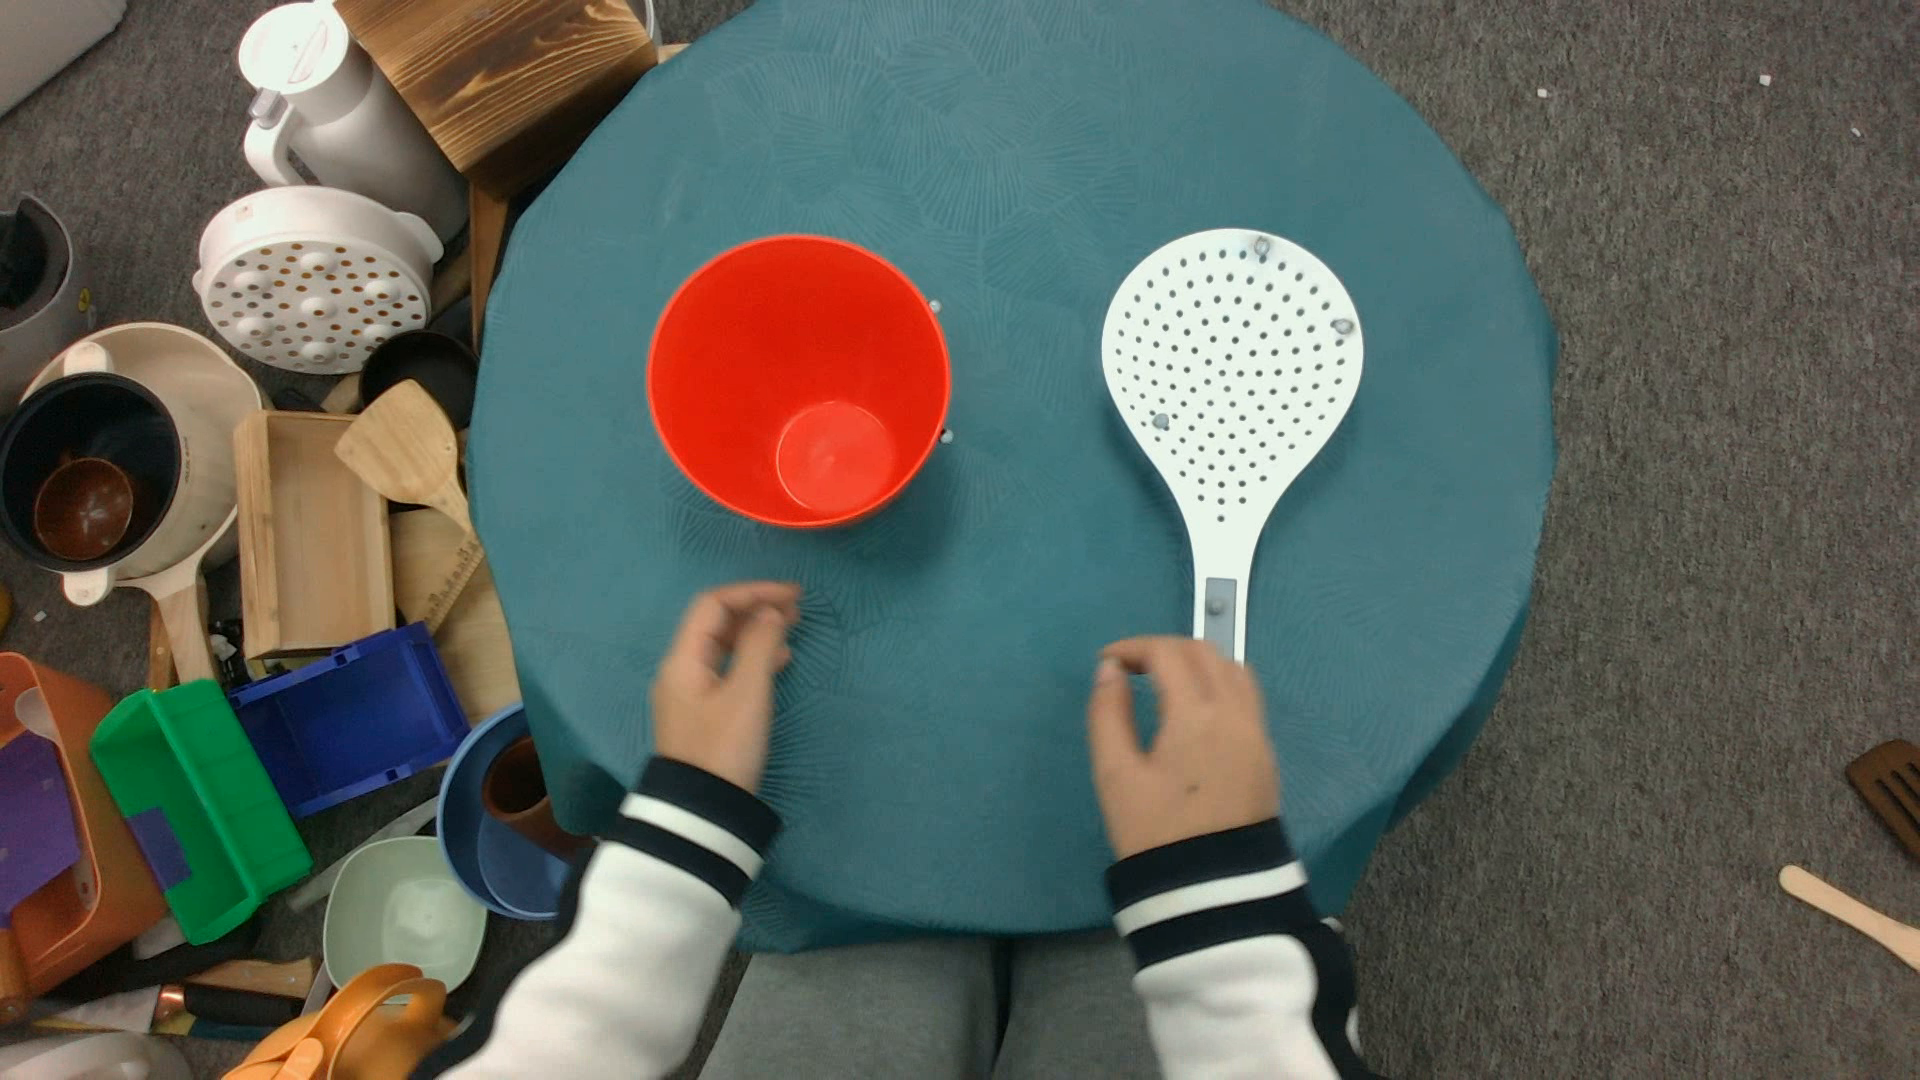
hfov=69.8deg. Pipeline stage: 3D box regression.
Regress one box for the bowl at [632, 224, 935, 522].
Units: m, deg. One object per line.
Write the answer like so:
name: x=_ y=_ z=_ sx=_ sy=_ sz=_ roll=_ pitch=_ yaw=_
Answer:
bowl: x=-0.086 y=-0.073 z=0.713 sx=0.148 sy=0.104 sz=0.148 roll=0 pitch=72 yaw=-1

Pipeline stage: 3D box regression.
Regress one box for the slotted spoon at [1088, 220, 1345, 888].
slotted spoon: x=0.127 y=-0.001 z=0.714 sx=0.136 sy=0.045 sz=0.350 roll=4 pitch=72 yaw=4
